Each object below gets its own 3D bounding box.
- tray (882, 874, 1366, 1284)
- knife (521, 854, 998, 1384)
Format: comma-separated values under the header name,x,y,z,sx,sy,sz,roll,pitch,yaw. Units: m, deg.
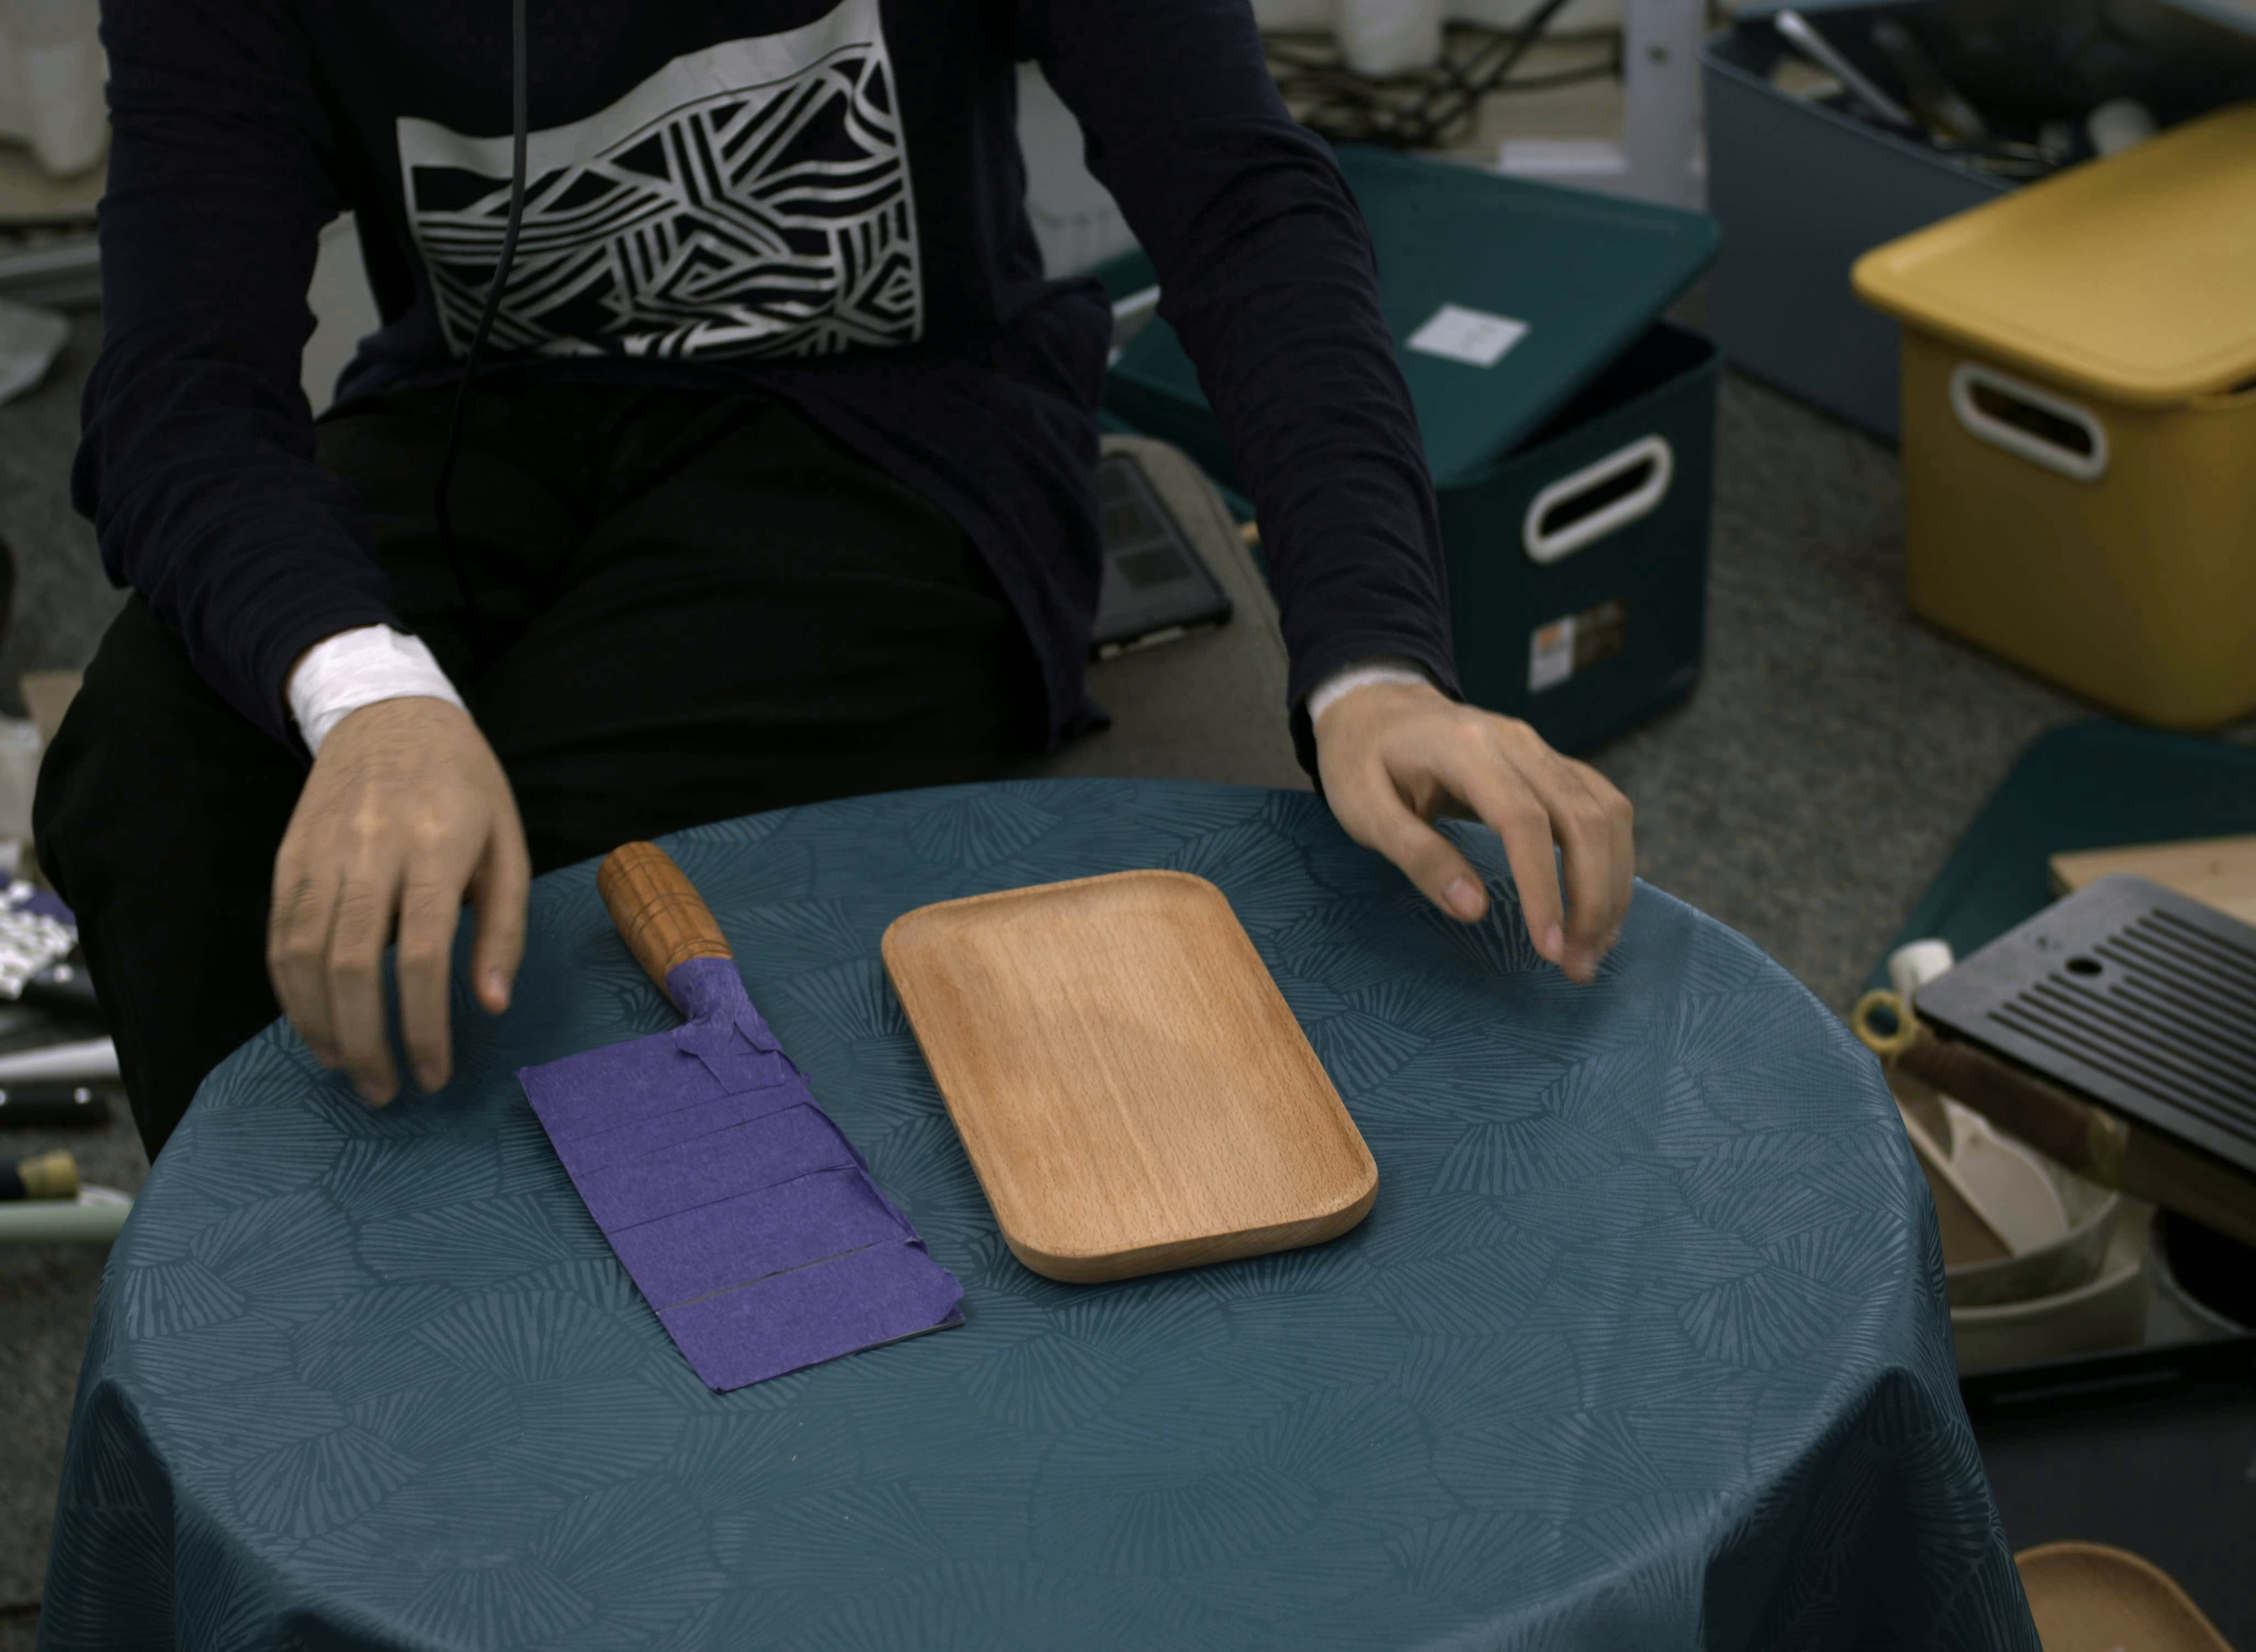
name,x,y,z,sx,sy,sz,roll,pitch,yaw
tray,-0.004,0.083,1.918,0.130,0.022,0.254,-9,28,-8
knife,-0.149,0.095,1.899,0.104,0.032,0.317,-13,29,-20
